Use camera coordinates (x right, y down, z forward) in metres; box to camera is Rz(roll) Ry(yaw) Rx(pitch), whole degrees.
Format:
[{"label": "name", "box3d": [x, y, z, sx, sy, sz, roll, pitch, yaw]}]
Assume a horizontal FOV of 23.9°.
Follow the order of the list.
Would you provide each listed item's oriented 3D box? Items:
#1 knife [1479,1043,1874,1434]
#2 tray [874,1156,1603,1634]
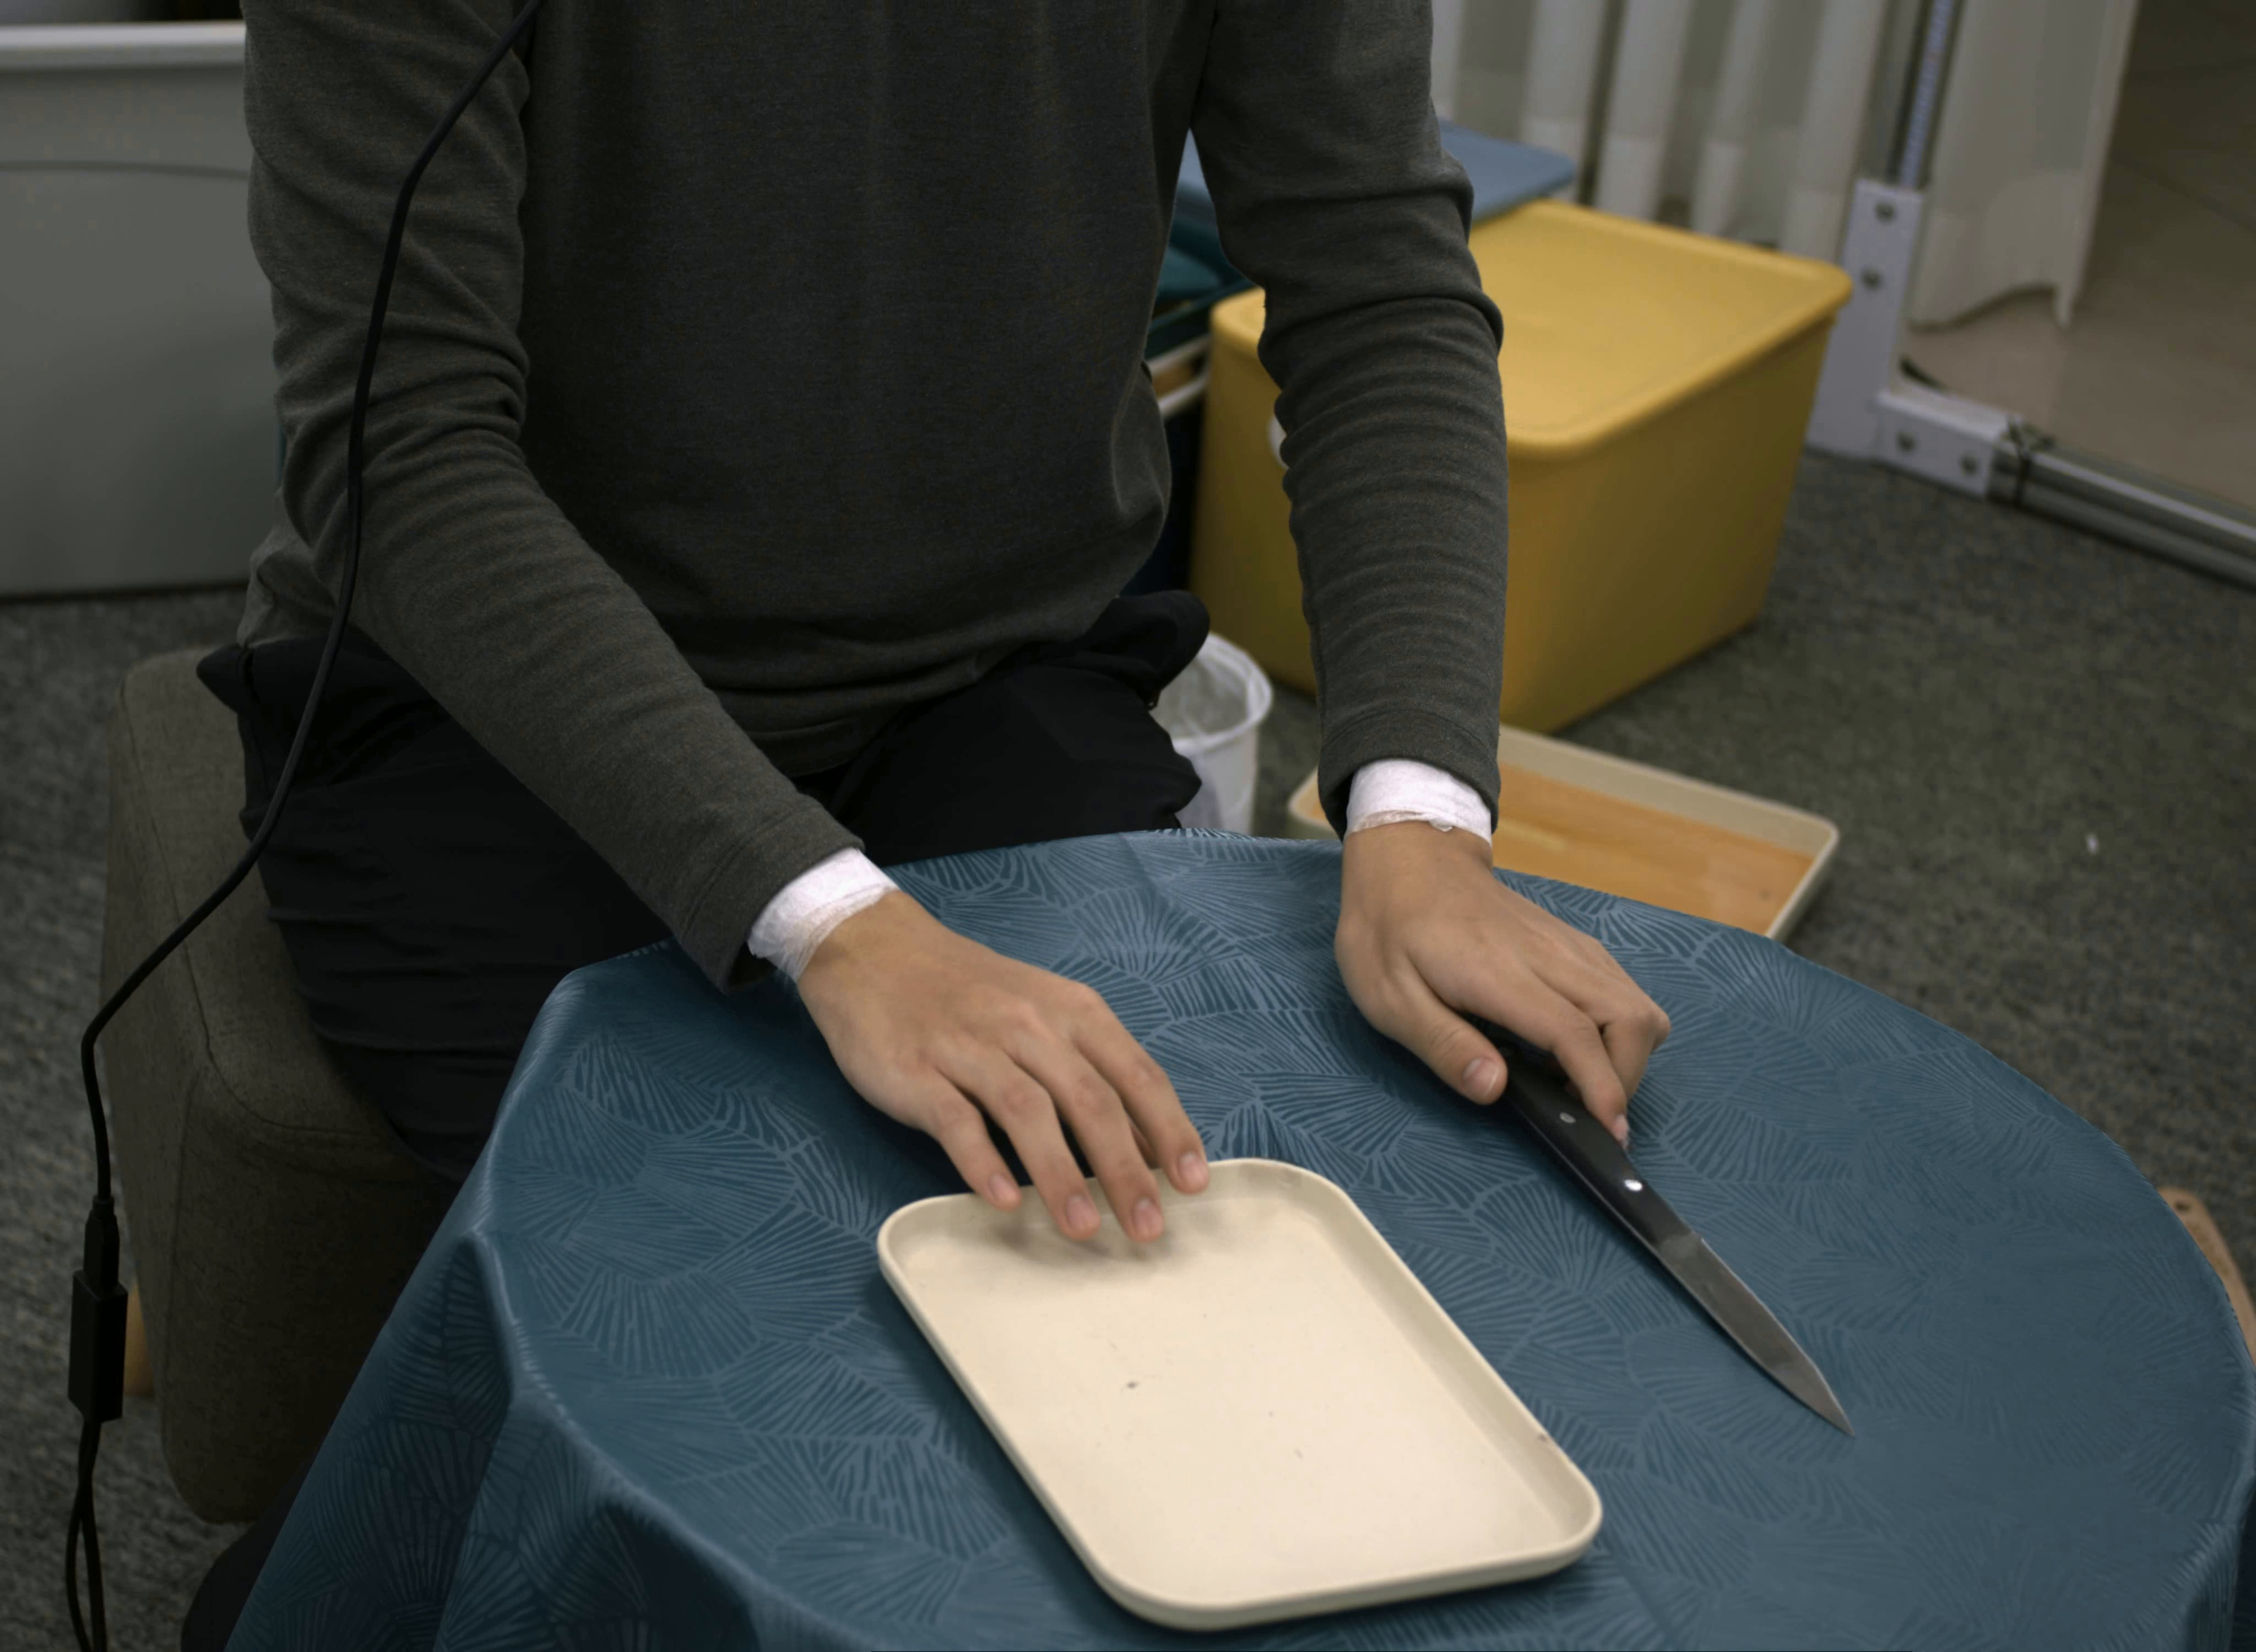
[{"label": "knife", "box3d": [0.182, 0.139, 1.803, 0.024, 0.016, 0.240, -8, 32, -27]}, {"label": "tray", "box3d": [0.031, 0.178, 1.685, 0.170, 0.017, 0.242, -6, 29, -23]}]
